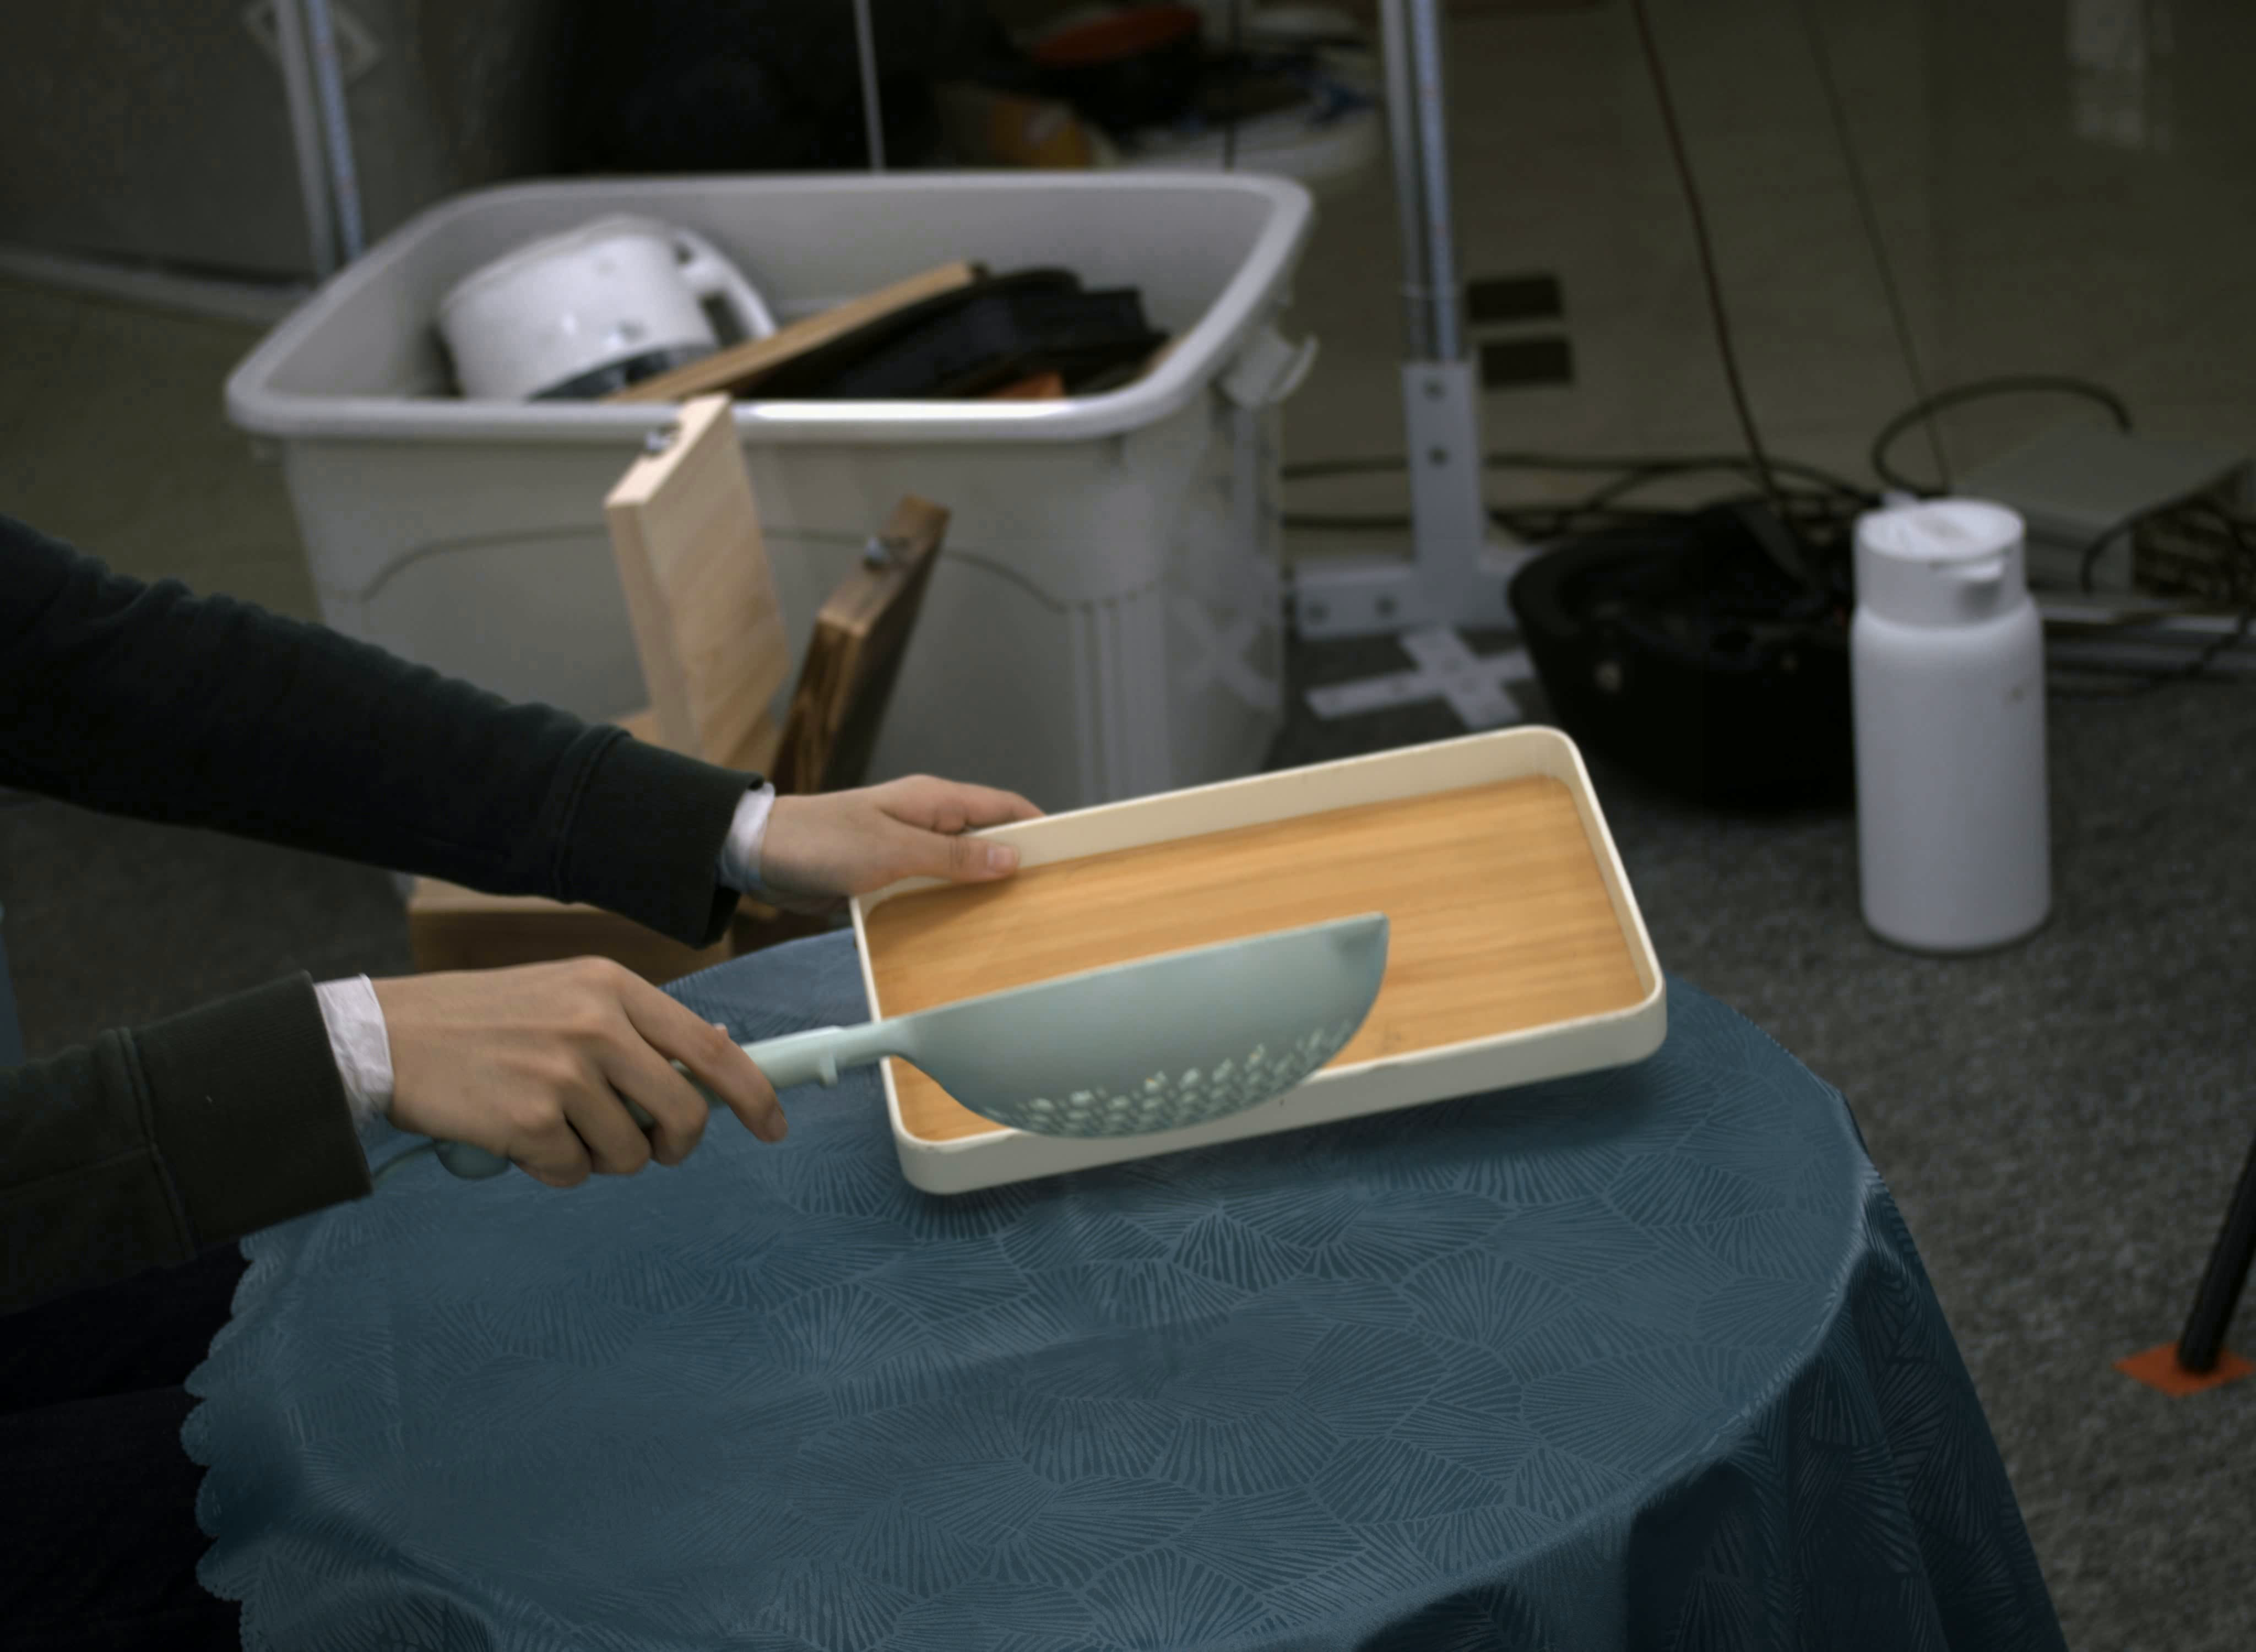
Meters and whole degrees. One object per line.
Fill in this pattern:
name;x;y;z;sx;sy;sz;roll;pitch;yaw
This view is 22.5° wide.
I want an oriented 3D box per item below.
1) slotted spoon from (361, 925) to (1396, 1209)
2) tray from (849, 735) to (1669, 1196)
slotted spoon;-0.083;0.081;1.928;0.358;0.075;0.170;-3;-4;-11
tray;0.048;0.052;2.213;0.300;0.028;0.188;-10;38;-3
